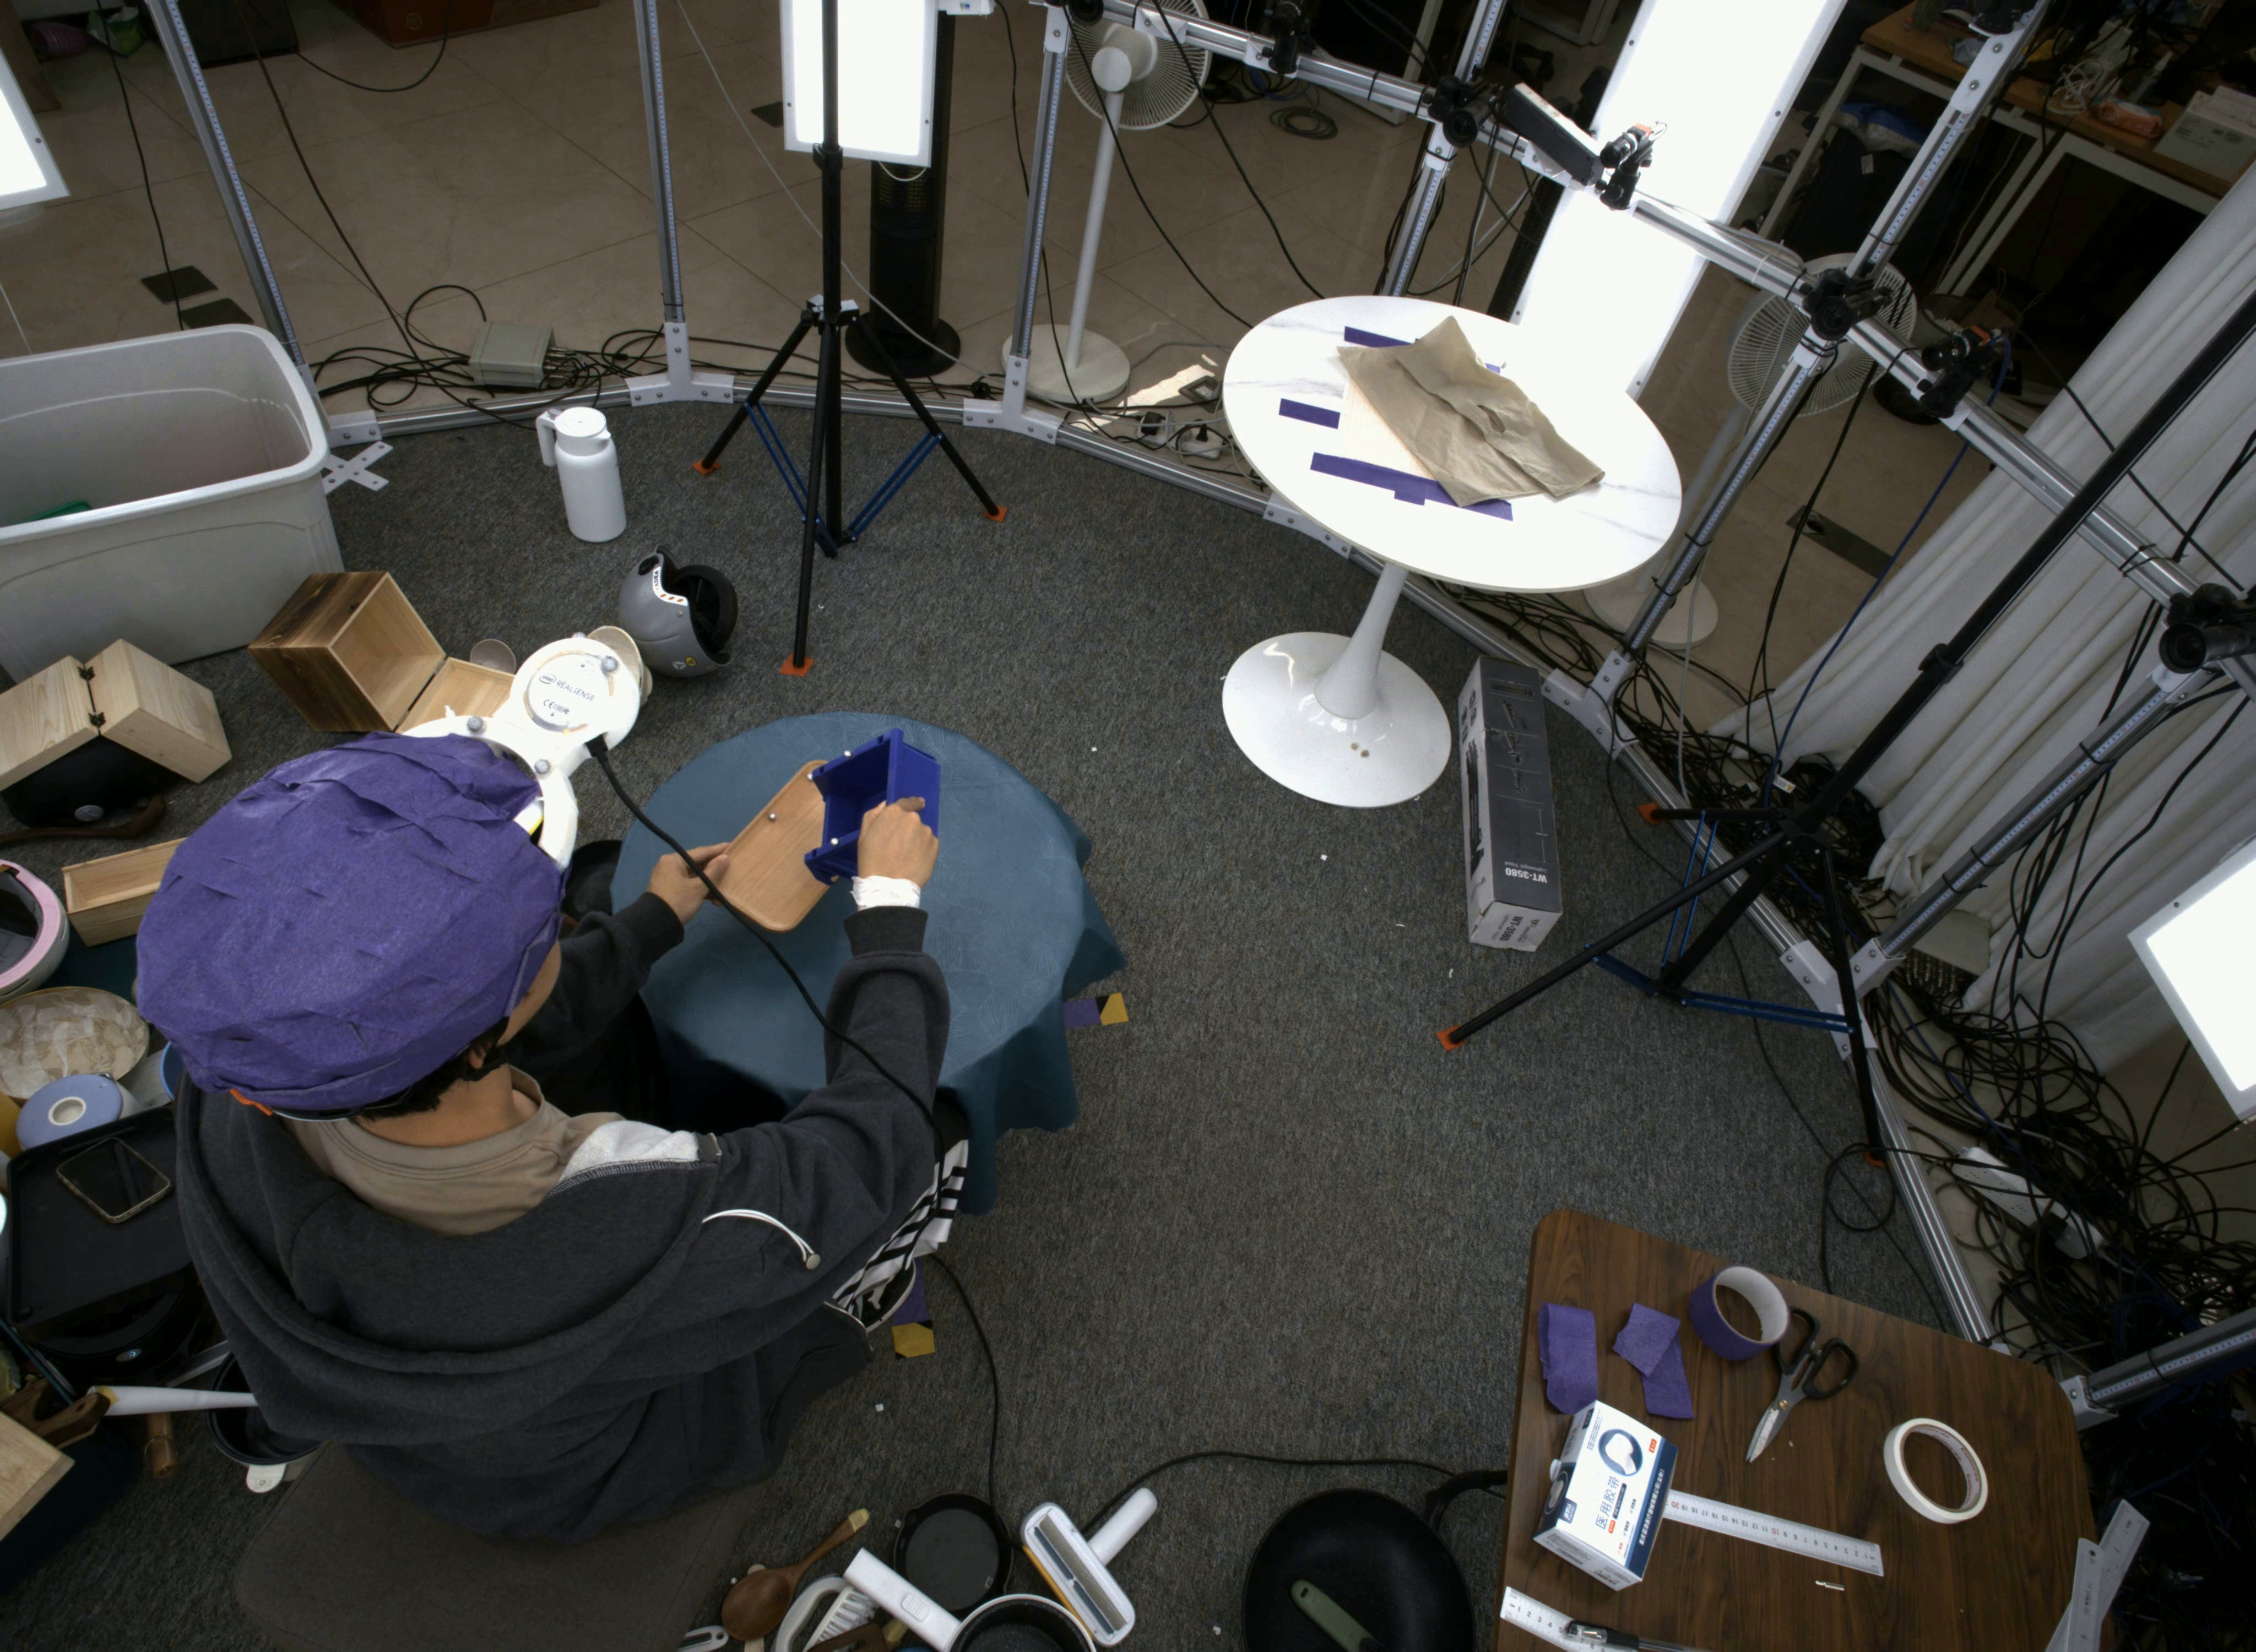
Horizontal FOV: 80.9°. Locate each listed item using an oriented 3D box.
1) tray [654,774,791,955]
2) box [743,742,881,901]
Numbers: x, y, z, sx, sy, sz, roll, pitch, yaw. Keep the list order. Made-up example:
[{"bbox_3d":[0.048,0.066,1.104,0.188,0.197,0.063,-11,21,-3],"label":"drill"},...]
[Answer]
[{"bbox_3d":[-0.461,0.042,1.574,0.130,0.023,0.249,30,50,-1],"label":"tray"},{"bbox_3d":[-0.361,0.001,1.462,0.084,0.175,0.123,28,51,-51],"label":"box"}]
